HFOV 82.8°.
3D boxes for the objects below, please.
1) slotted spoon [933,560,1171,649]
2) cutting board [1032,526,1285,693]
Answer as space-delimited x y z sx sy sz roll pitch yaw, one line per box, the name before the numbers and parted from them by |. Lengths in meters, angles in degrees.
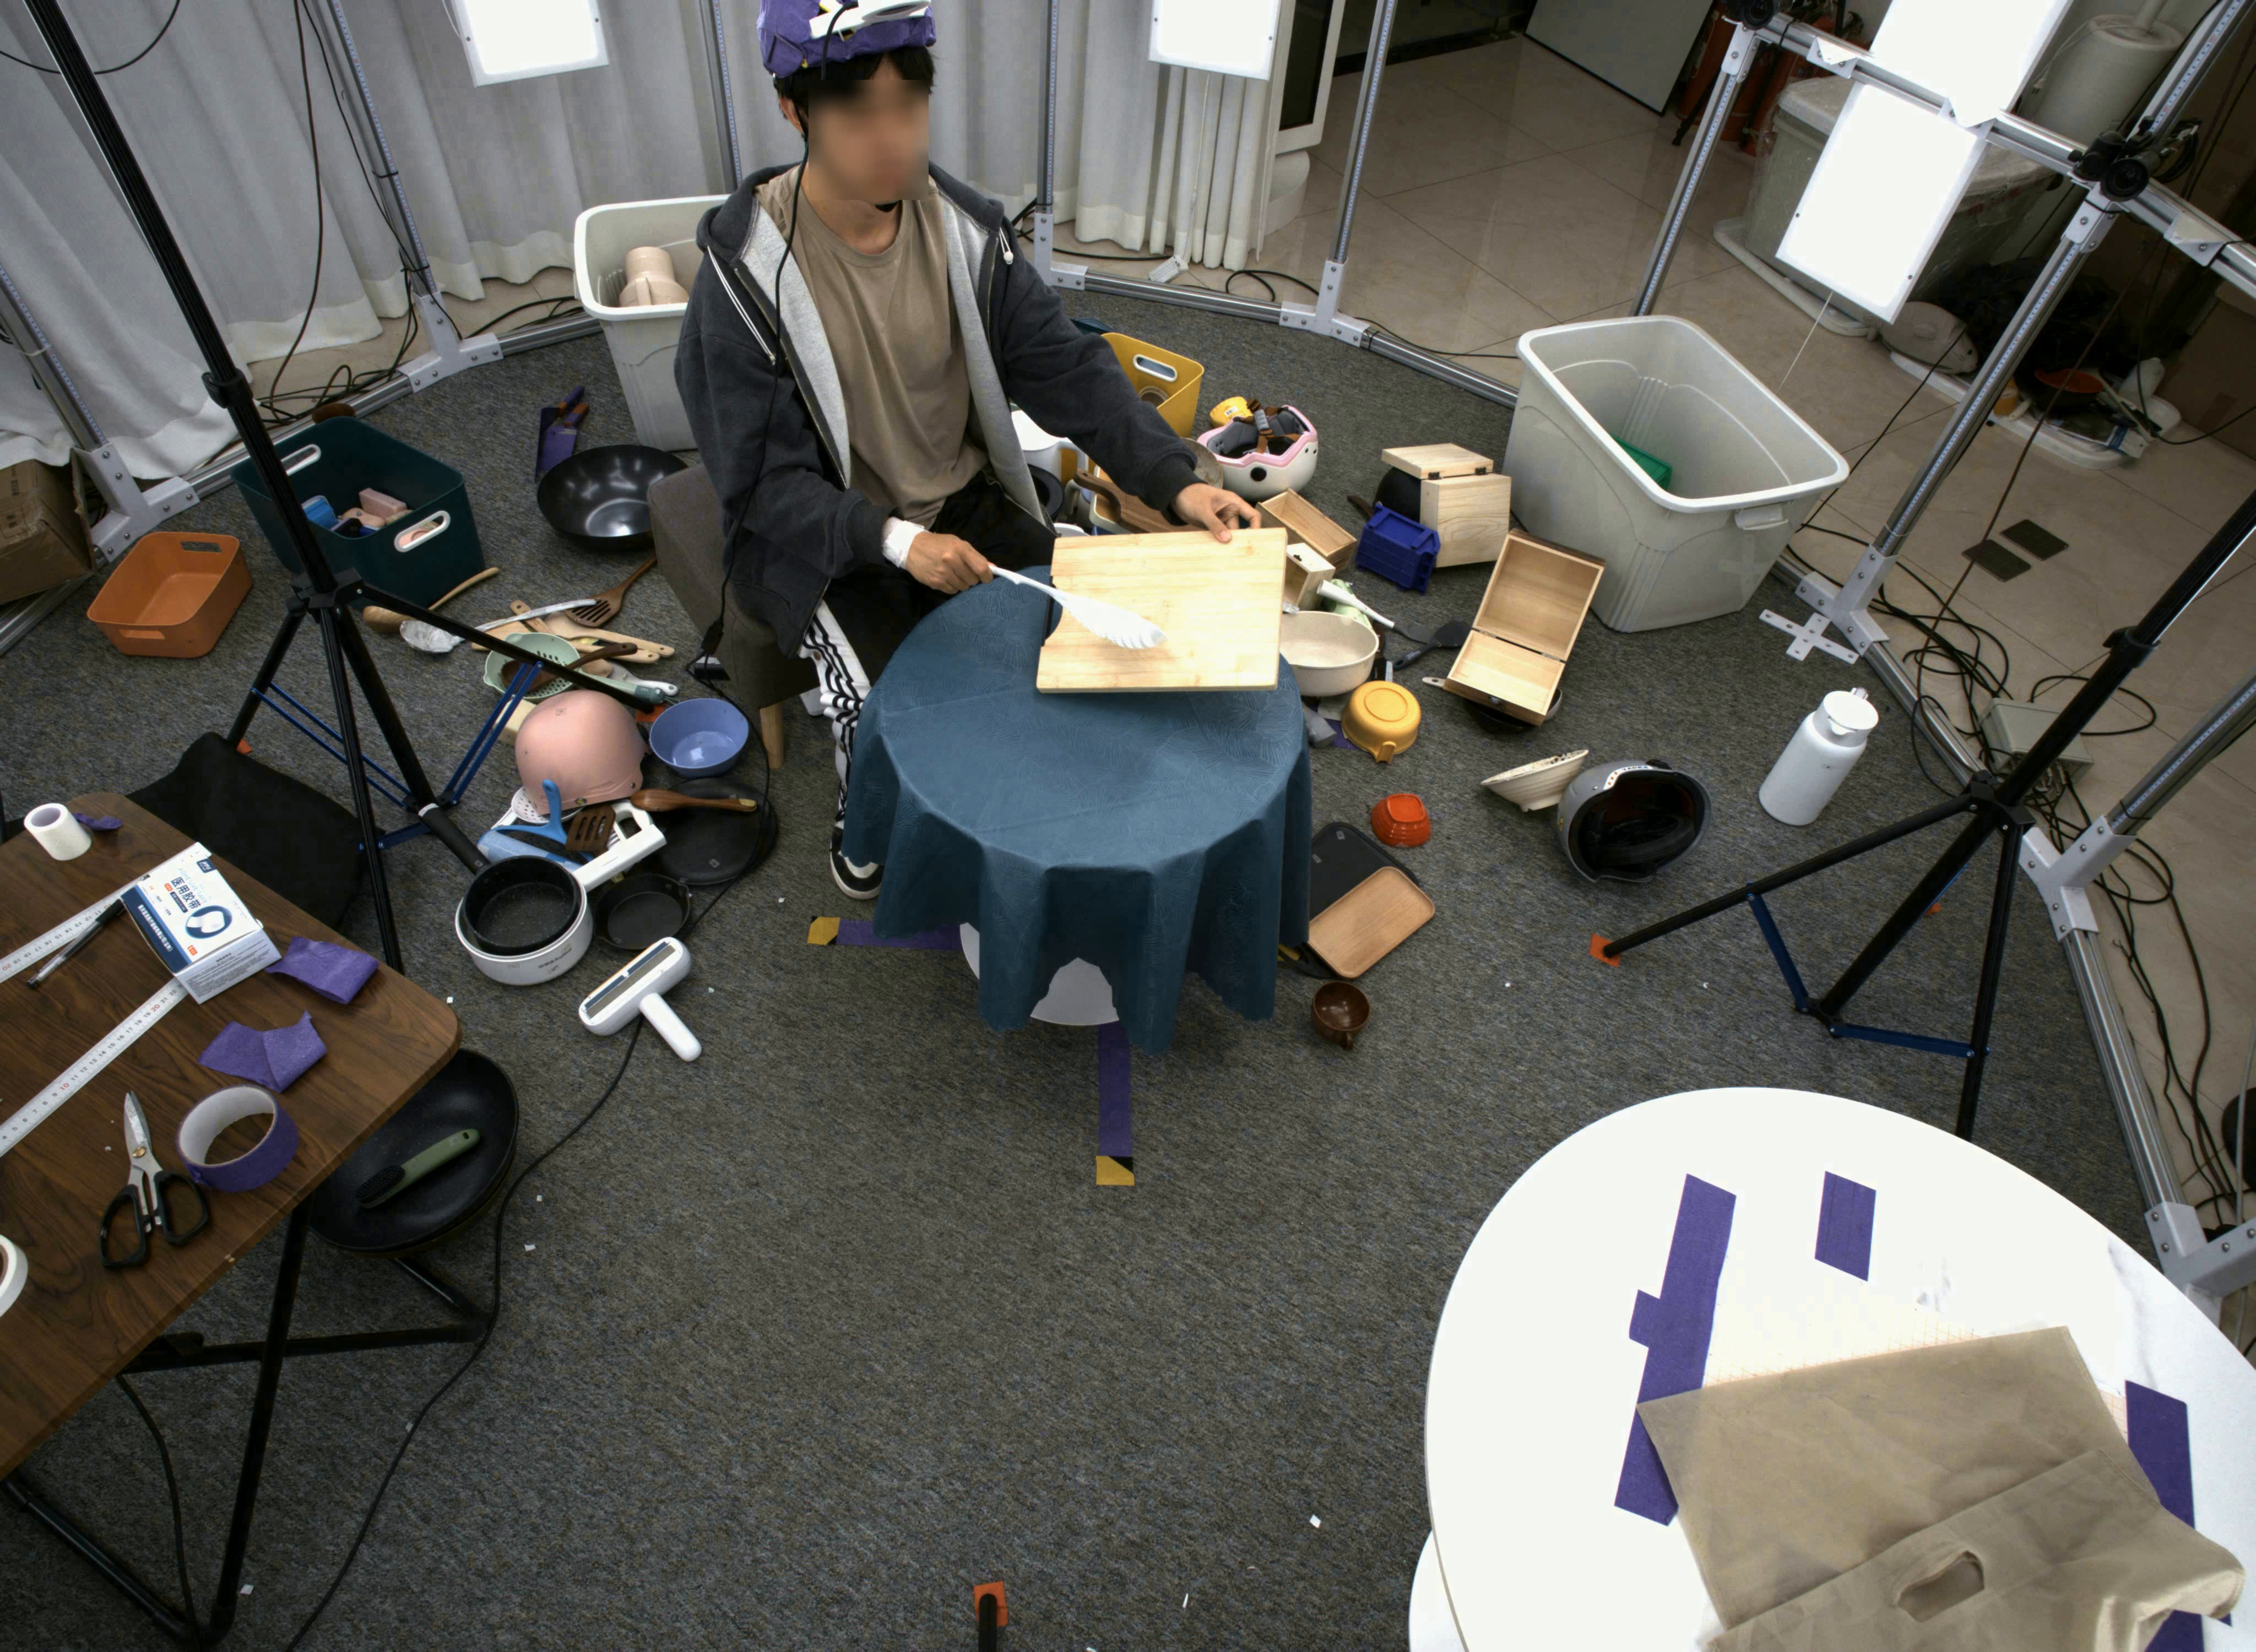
slotted spoon | -0.106 -0.309 1.743 0.350 0.136 0.050 27 93 16
cutting board | 0.043 -0.303 1.809 0.349 0.023 0.254 0 70 16
